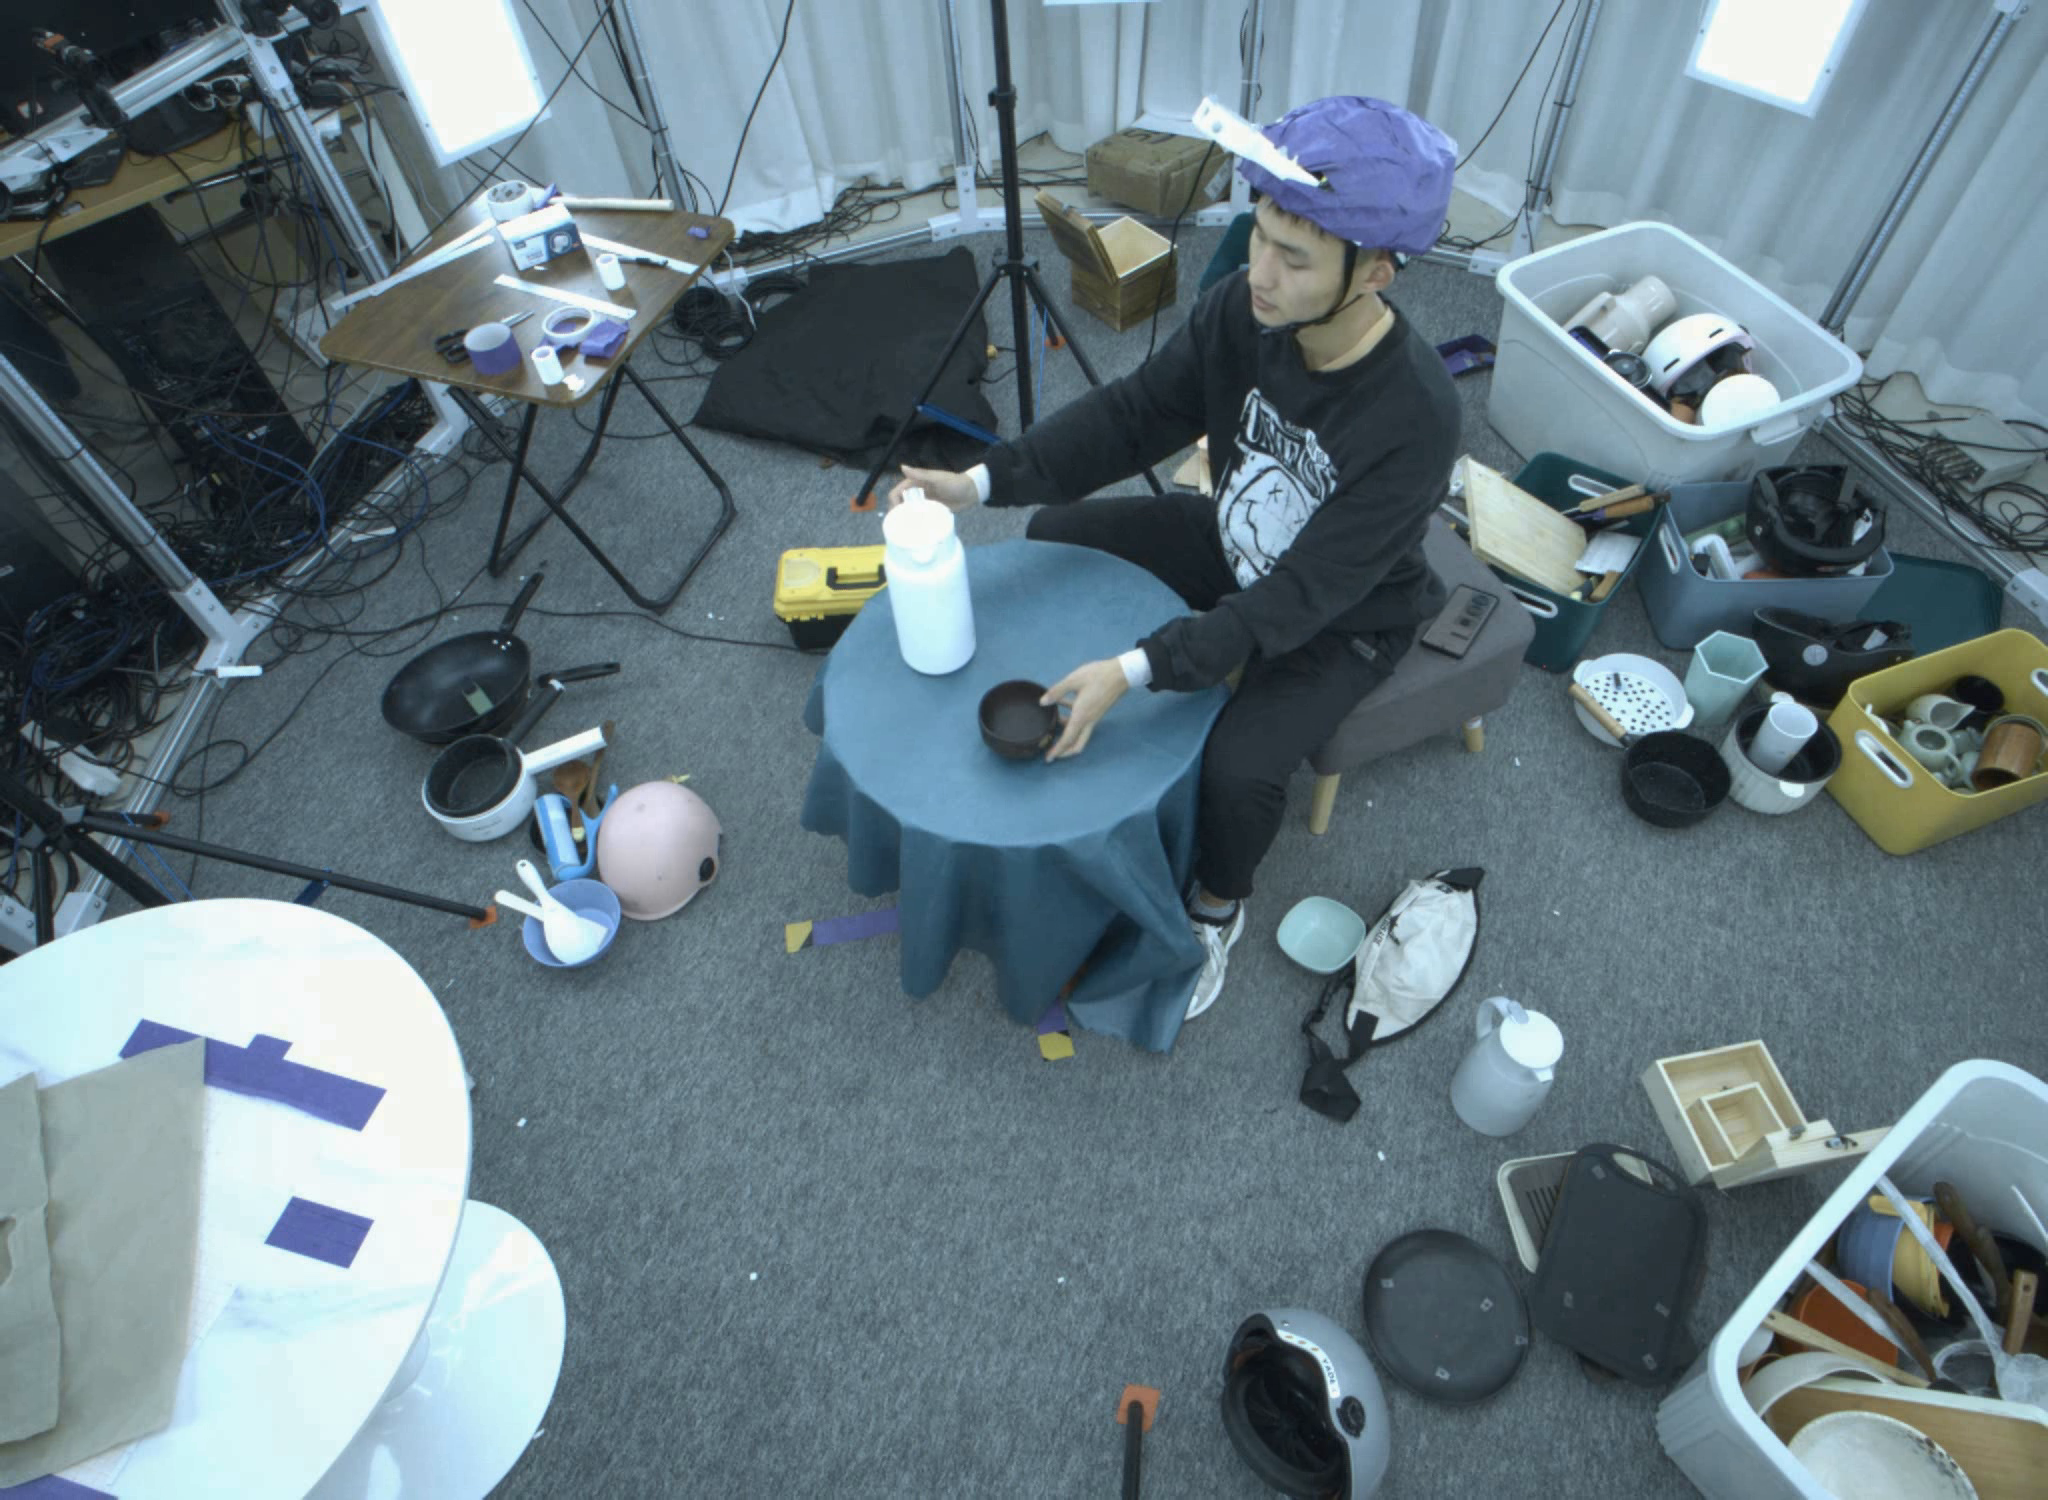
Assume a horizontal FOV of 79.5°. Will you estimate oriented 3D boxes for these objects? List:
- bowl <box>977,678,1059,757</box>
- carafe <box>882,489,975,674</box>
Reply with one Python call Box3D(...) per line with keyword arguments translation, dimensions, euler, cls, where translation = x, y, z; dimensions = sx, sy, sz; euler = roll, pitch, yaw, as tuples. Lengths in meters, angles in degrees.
Box3D(translation=(-0.007, -0.039, 1.765), dimensions=(0.118, 0.070, 0.117), euler=(-1, 54, 2), cls="bowl")
Box3D(translation=(-0.145, -0.250, 1.802), dimensions=(0.124, 0.272, 0.170), euler=(-12, 54, -2), cls="carafe")
